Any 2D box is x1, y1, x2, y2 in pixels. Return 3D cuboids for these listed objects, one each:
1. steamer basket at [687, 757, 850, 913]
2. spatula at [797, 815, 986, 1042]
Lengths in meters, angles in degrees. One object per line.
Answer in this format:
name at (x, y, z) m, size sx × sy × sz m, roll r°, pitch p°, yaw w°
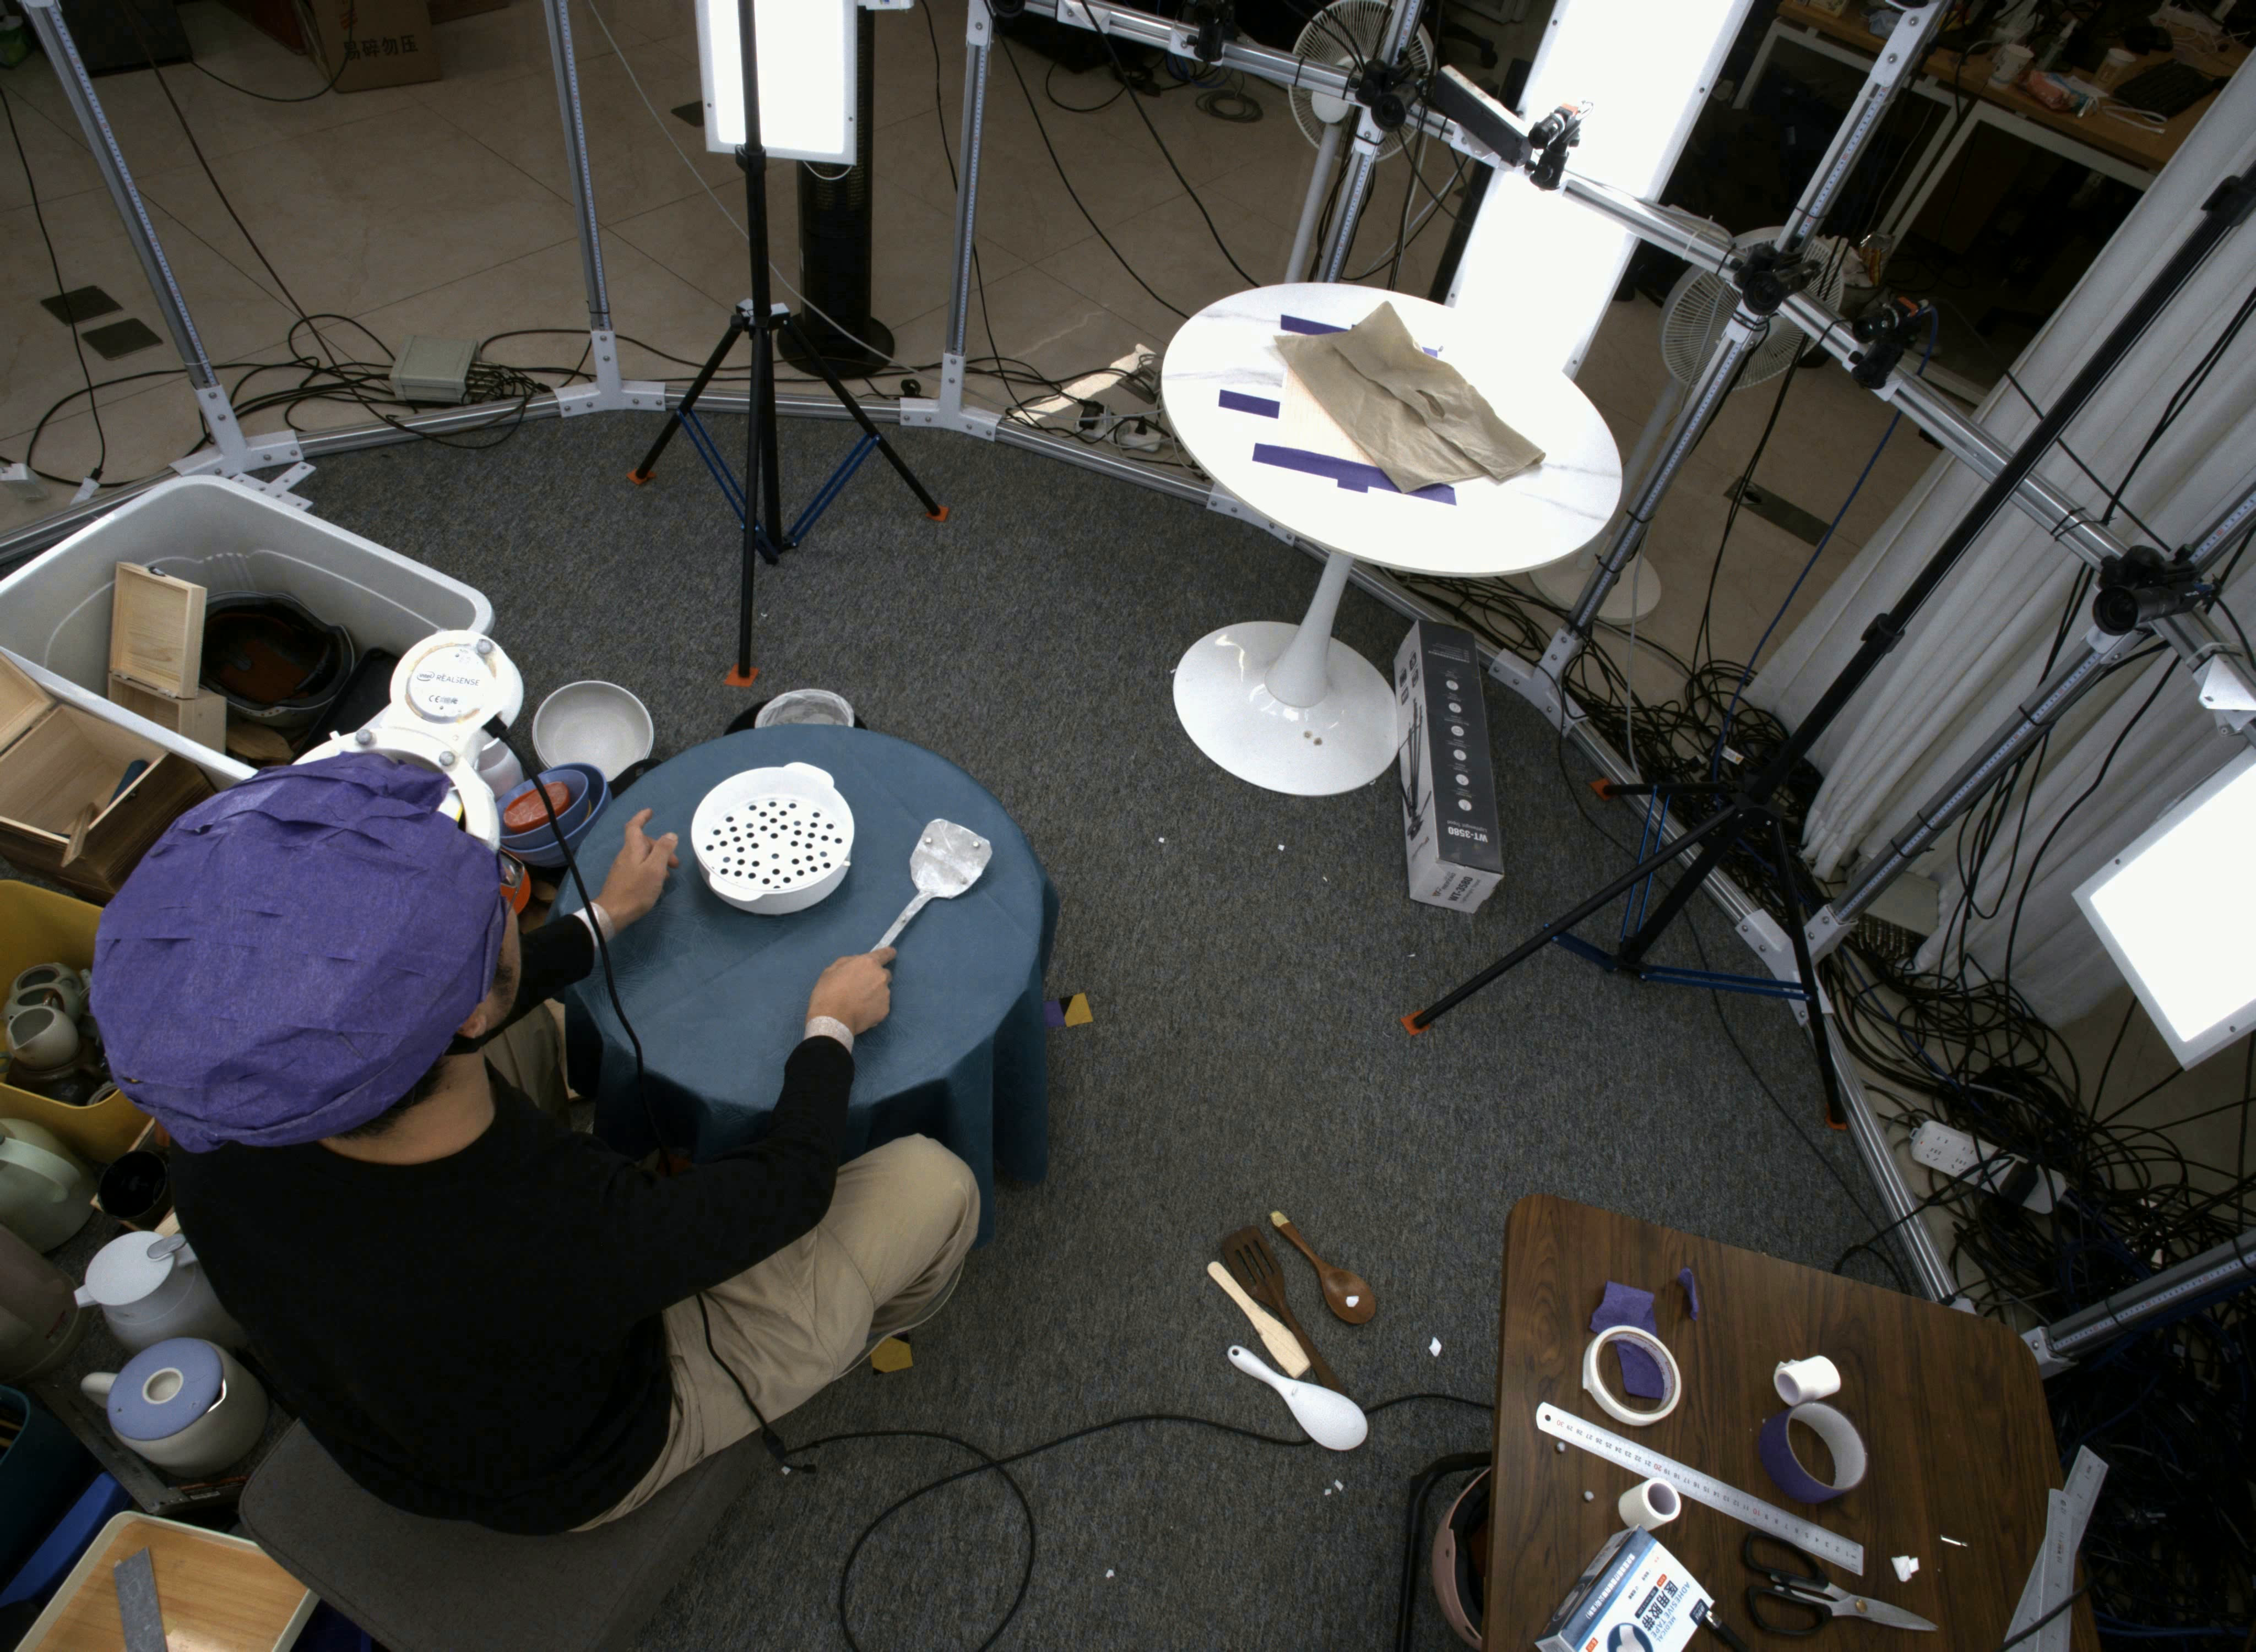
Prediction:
steamer basket at (-0.456, 0.015, 1.654) m, size 0.199 × 0.070 × 0.228 m, roll 20°, pitch 53°, yaw 3°
spatula at (-0.301, 0.127, 1.628) m, size 0.097 × 0.045 × 0.363 m, roll 29°, pitch 50°, yaw 6°
